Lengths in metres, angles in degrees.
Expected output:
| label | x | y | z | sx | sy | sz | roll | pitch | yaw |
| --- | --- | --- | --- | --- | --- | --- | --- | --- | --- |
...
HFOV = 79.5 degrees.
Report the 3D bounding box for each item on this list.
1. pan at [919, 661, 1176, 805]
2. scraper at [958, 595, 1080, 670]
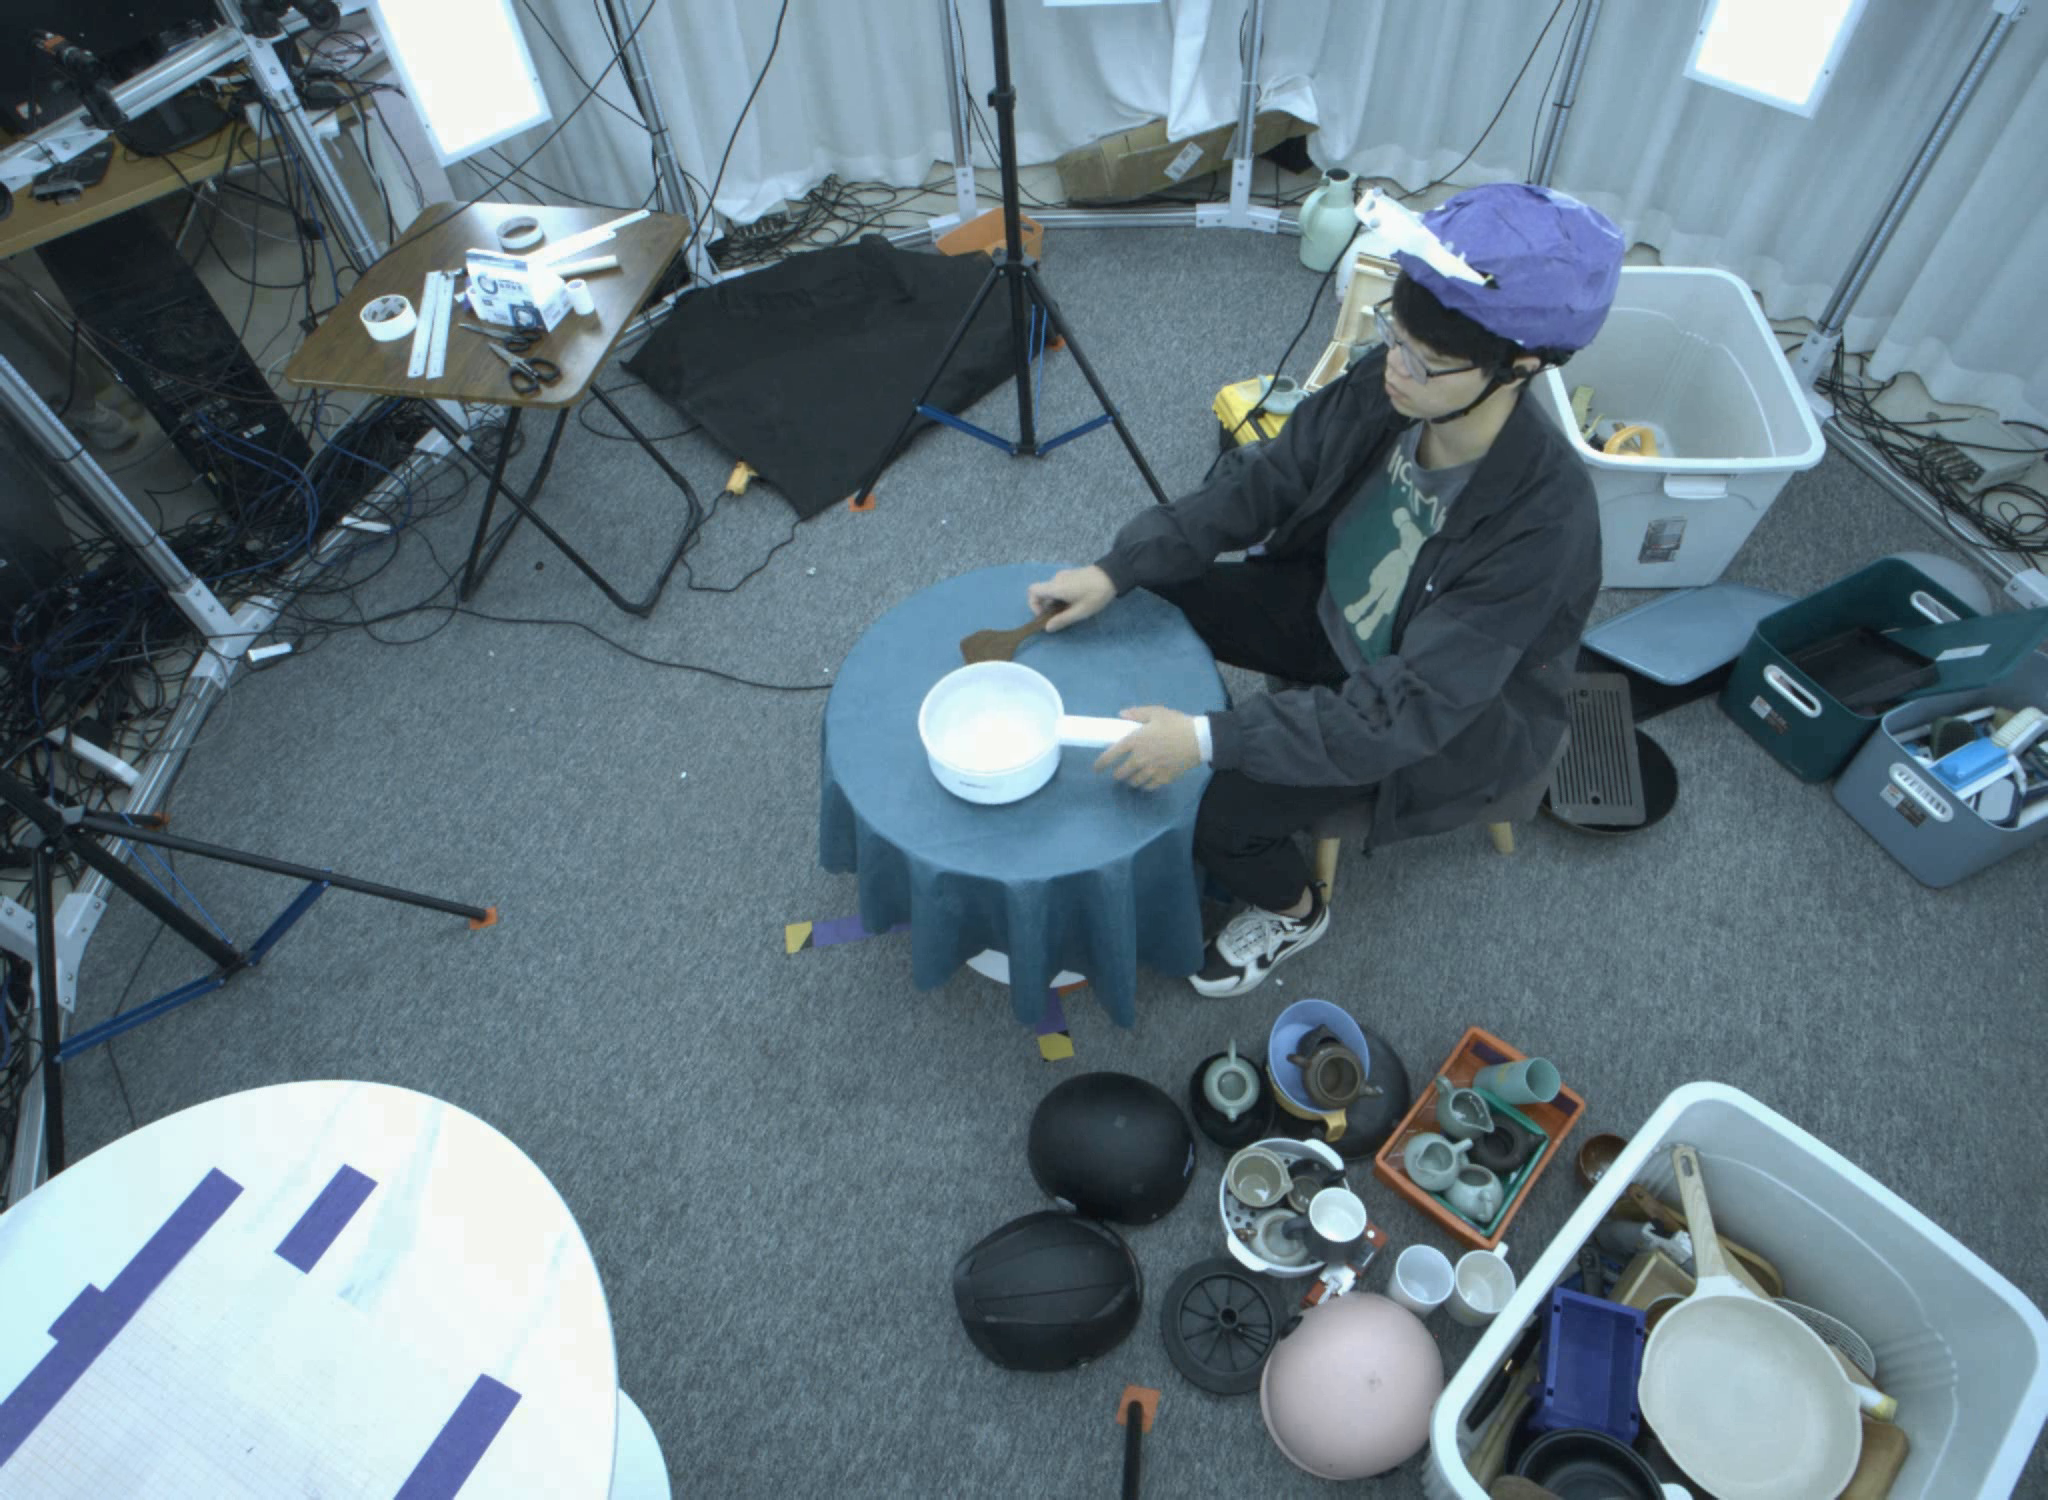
| label | x | y | z | sx | sy | sz | roll | pitch | yaw |
| --- | --- | --- | --- | --- | --- | --- | --- | --- | --- |
| pan | 0.033 | -0.011 | 1.726 | 0.353 | 0.103 | 0.200 | 6 | 55 | 5 |
| scraper | -0.002 | -0.180 | 1.881 | 0.213 | 0.010 | 0.076 | -32 | 97 | -20 |
